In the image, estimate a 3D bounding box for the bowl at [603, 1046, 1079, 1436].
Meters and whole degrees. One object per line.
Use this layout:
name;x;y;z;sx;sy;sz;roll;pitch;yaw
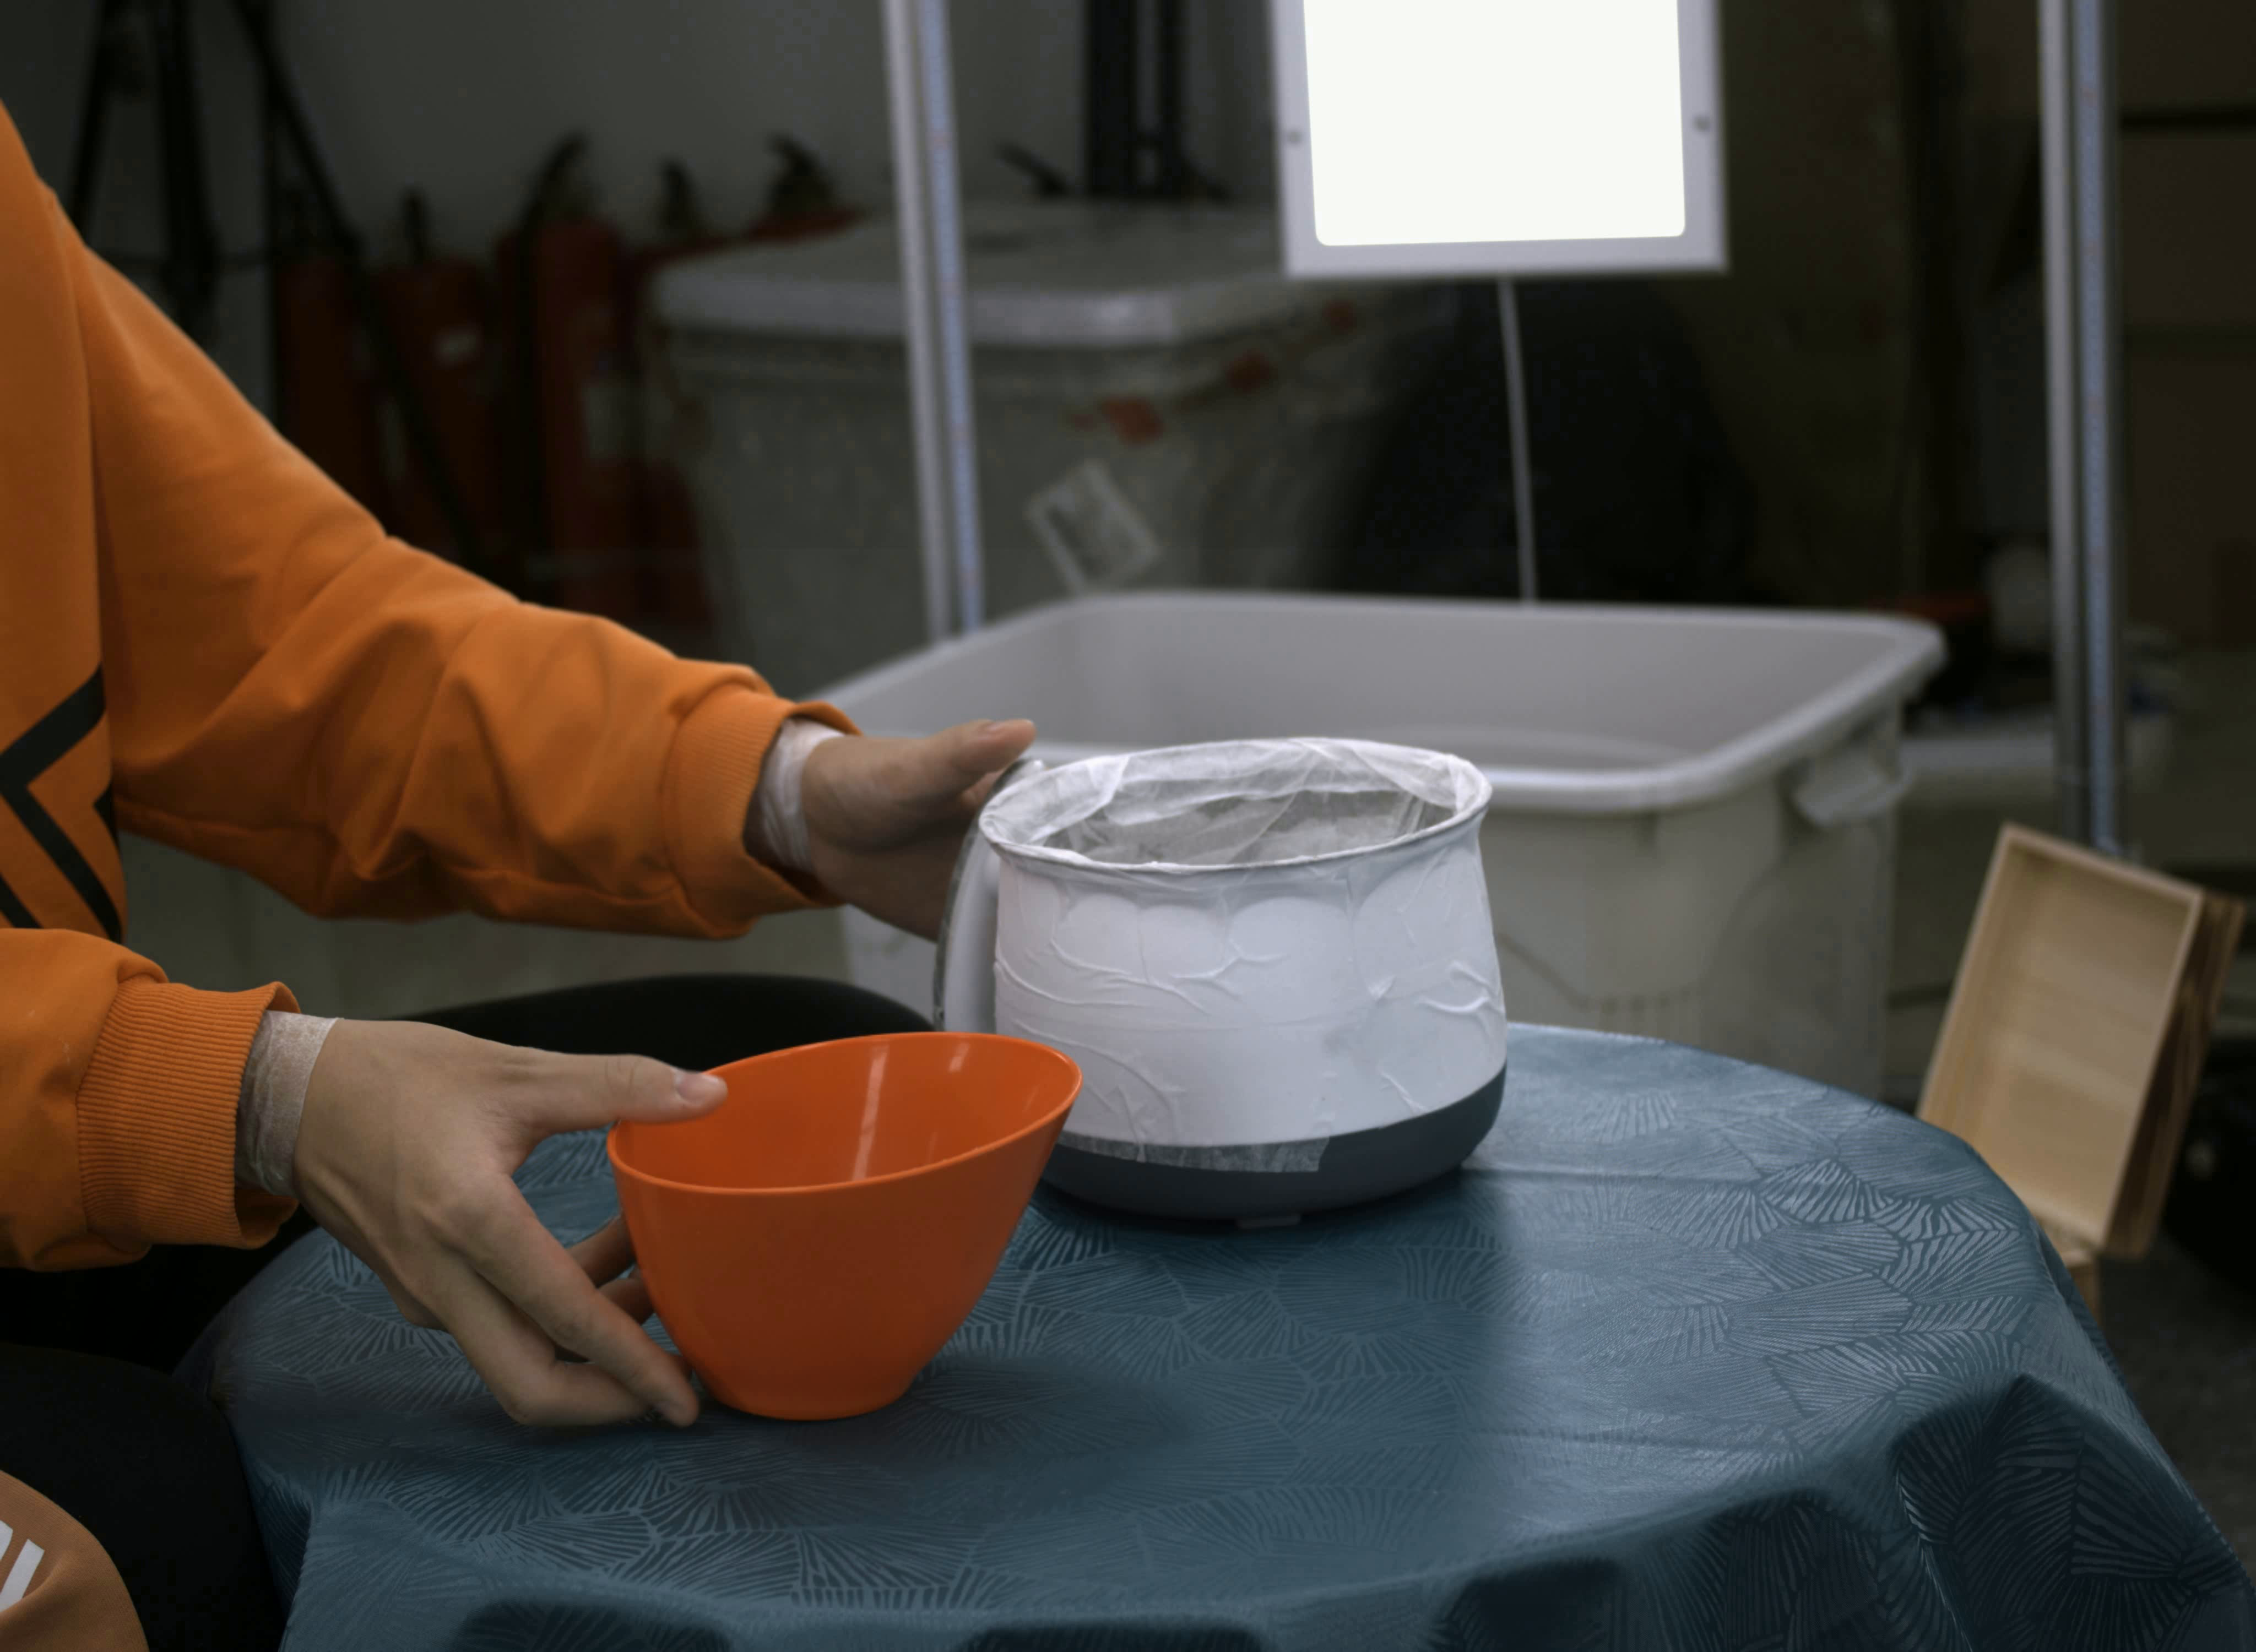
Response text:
bowl;-0.090;0.130;1.708;0.147;0.105;0.148;0;16;-1

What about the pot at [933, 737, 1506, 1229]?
pot;0.020;0.049;1.915;0.239;0.137;0.174;9;19;42
